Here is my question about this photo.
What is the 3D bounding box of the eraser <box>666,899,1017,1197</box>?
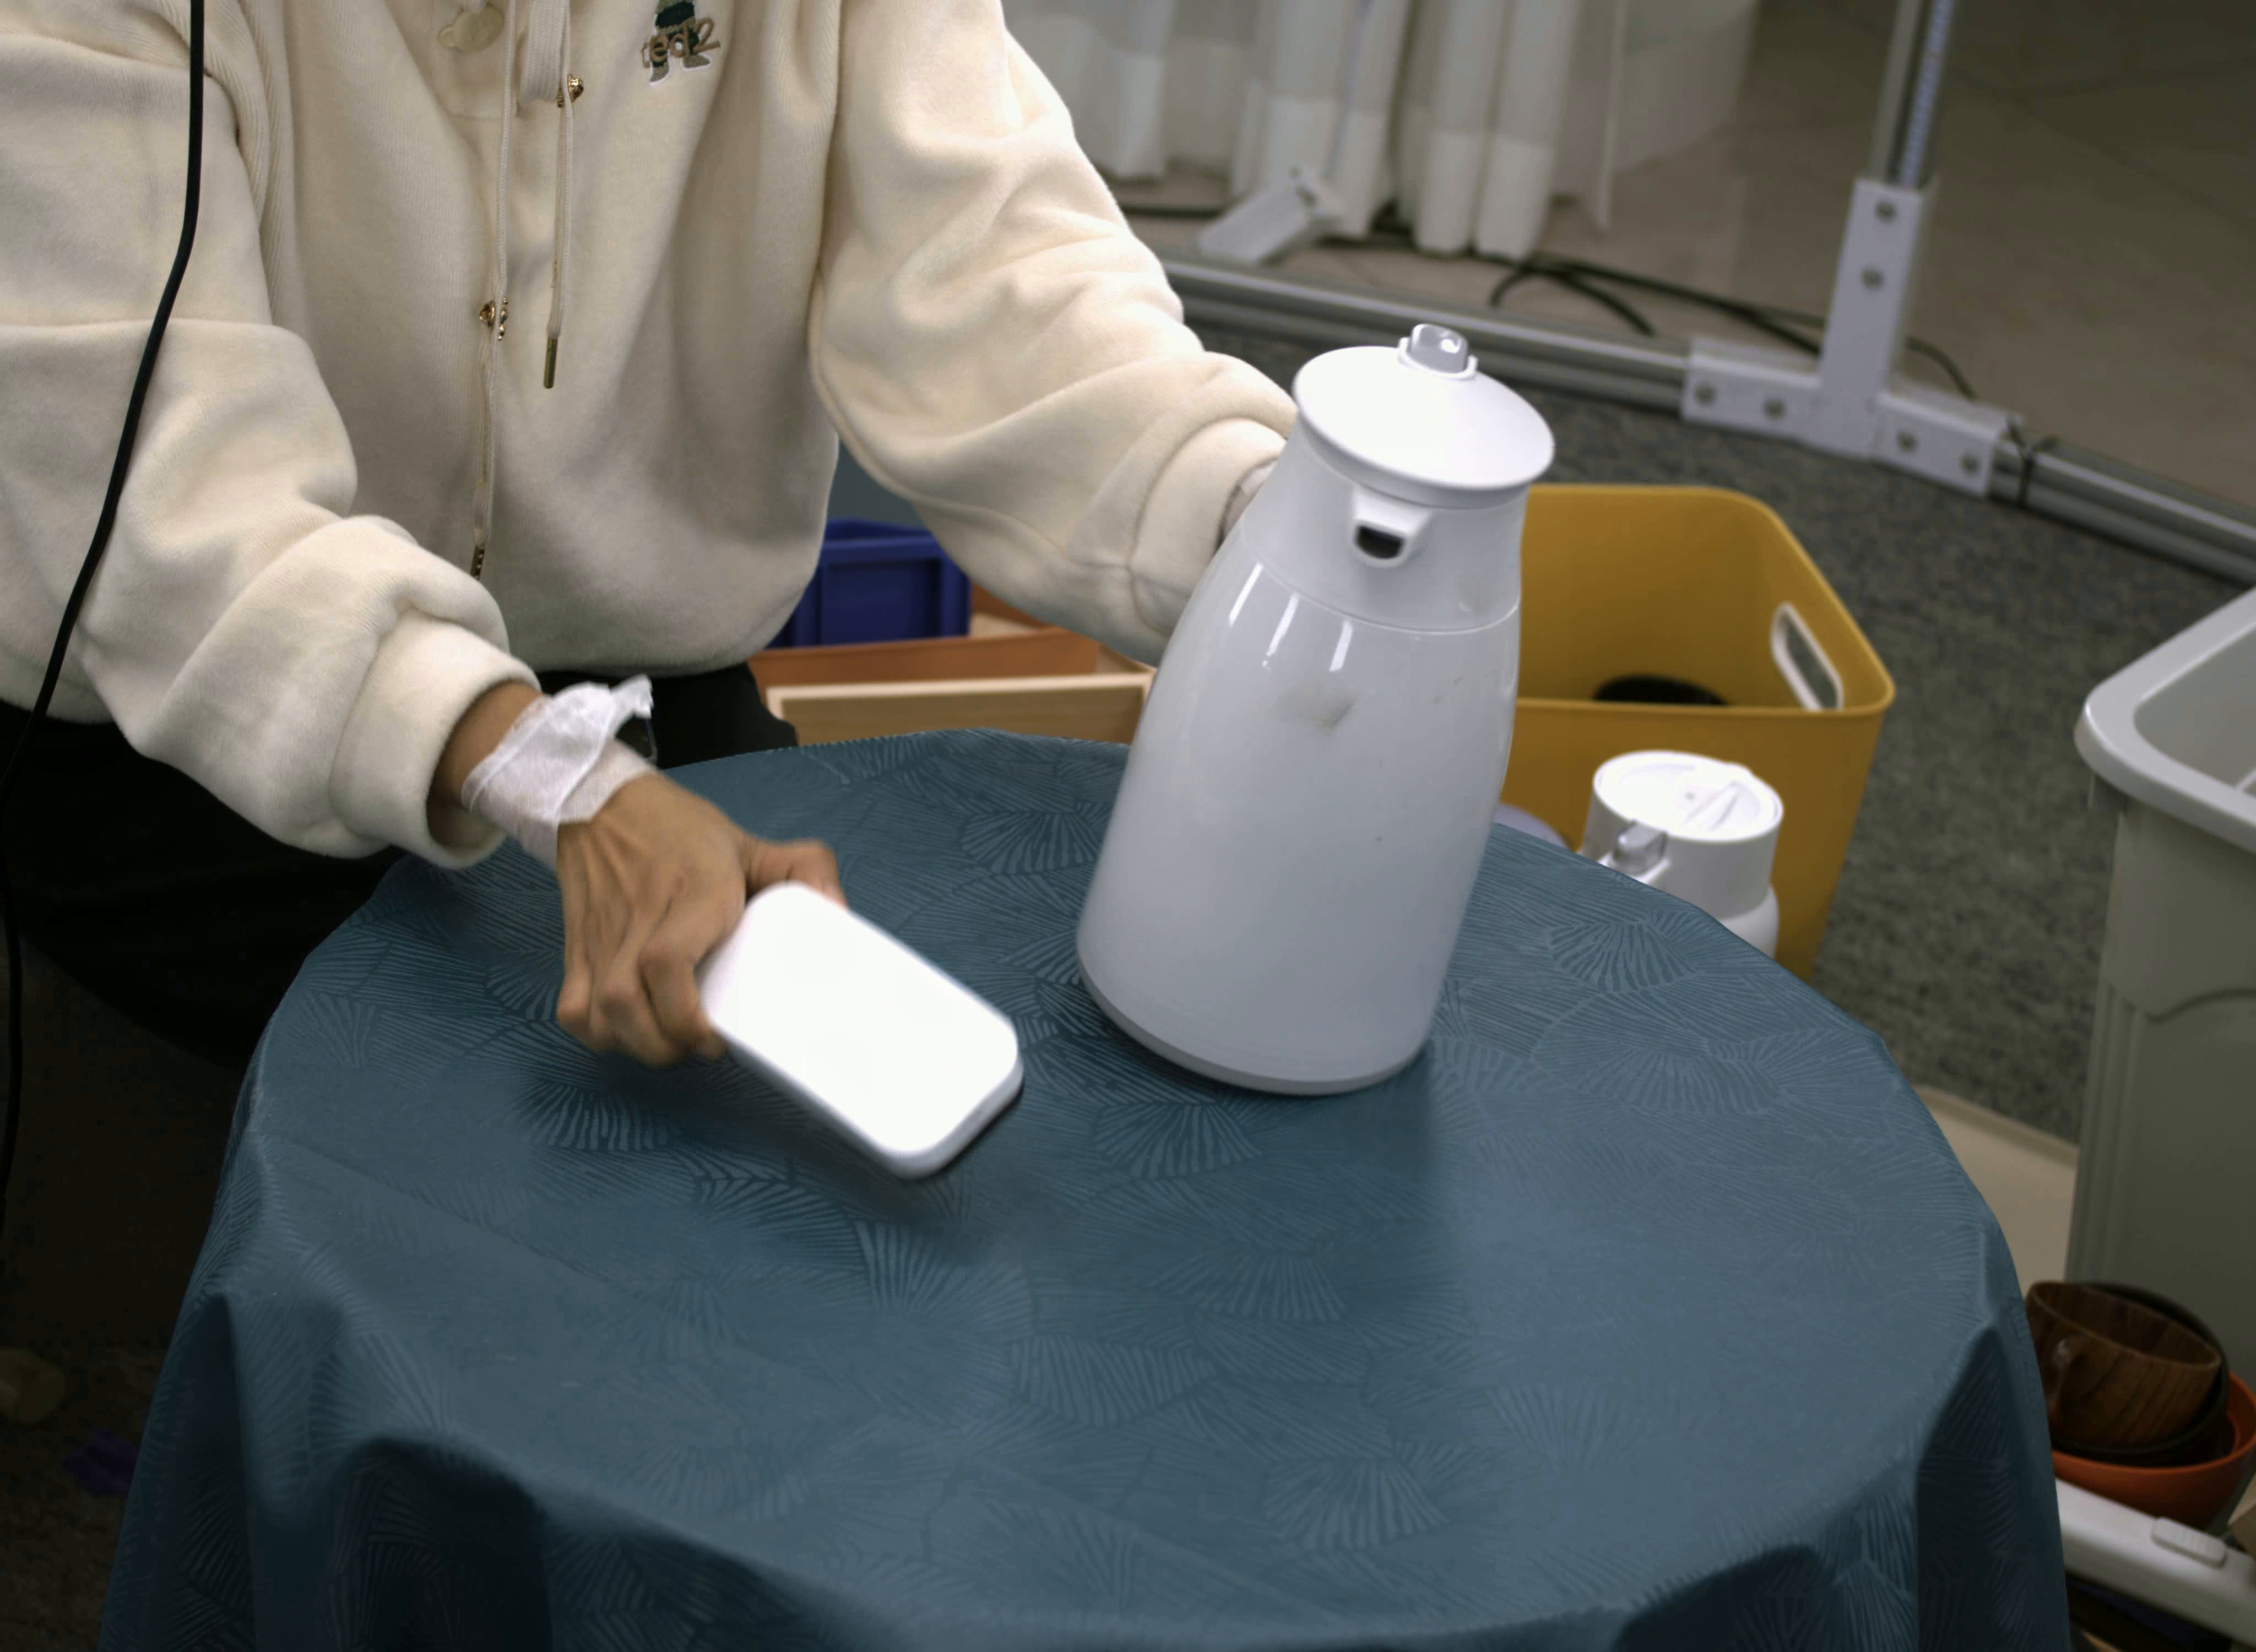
[{"bbox_3d":[-0.095,0.072,1.791,0.063,0.034,0.132,-40,51,-20],"label":"eraser"}]

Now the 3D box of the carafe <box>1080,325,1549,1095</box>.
[{"bbox_3d":[0.076,-0.053,1.872,0.132,0.248,0.168,17,30,4],"label":"carafe"}]
